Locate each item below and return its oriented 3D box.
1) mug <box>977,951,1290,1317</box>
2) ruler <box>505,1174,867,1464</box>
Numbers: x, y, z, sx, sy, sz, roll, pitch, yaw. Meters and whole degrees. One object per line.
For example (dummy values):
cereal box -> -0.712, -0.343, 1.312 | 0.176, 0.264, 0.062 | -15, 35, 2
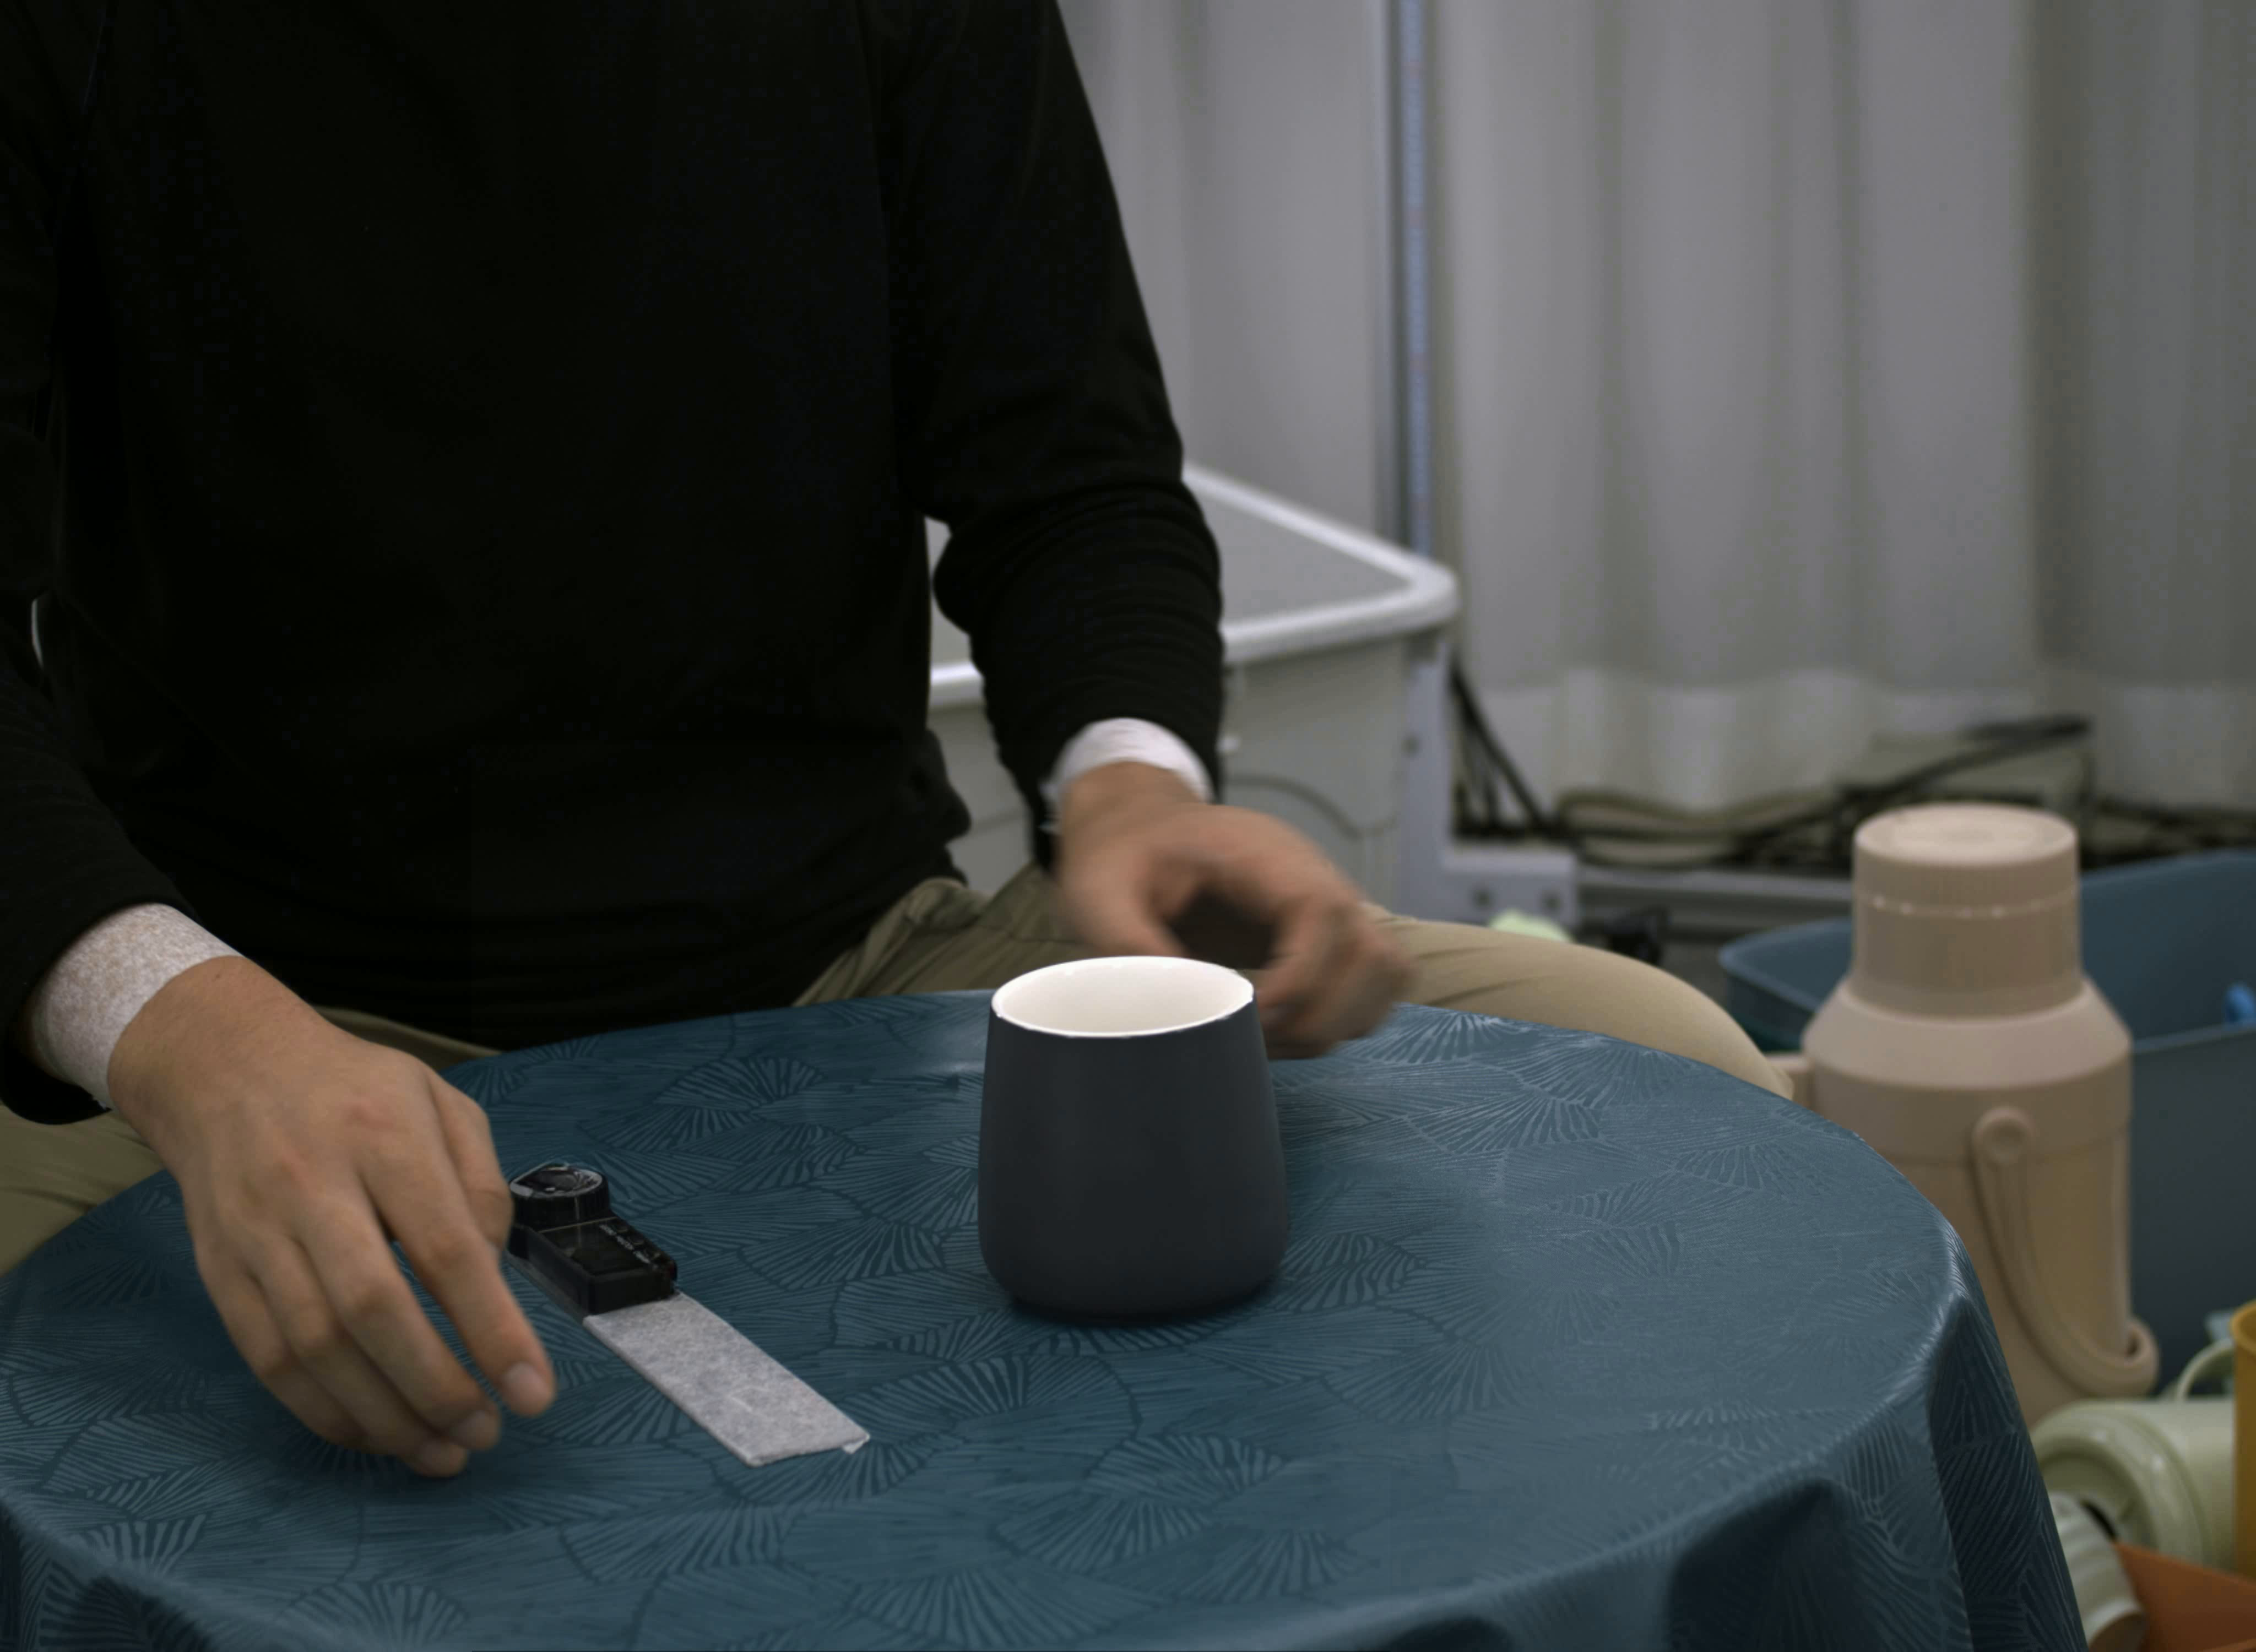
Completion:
mug -> -0.004, 0.088, 1.636 | 0.093, 0.089, 0.124 | -7, 16, -18
ruler -> -0.135, 0.141, 1.599 | 0.038, 0.024, 0.220 | -17, 18, -21
